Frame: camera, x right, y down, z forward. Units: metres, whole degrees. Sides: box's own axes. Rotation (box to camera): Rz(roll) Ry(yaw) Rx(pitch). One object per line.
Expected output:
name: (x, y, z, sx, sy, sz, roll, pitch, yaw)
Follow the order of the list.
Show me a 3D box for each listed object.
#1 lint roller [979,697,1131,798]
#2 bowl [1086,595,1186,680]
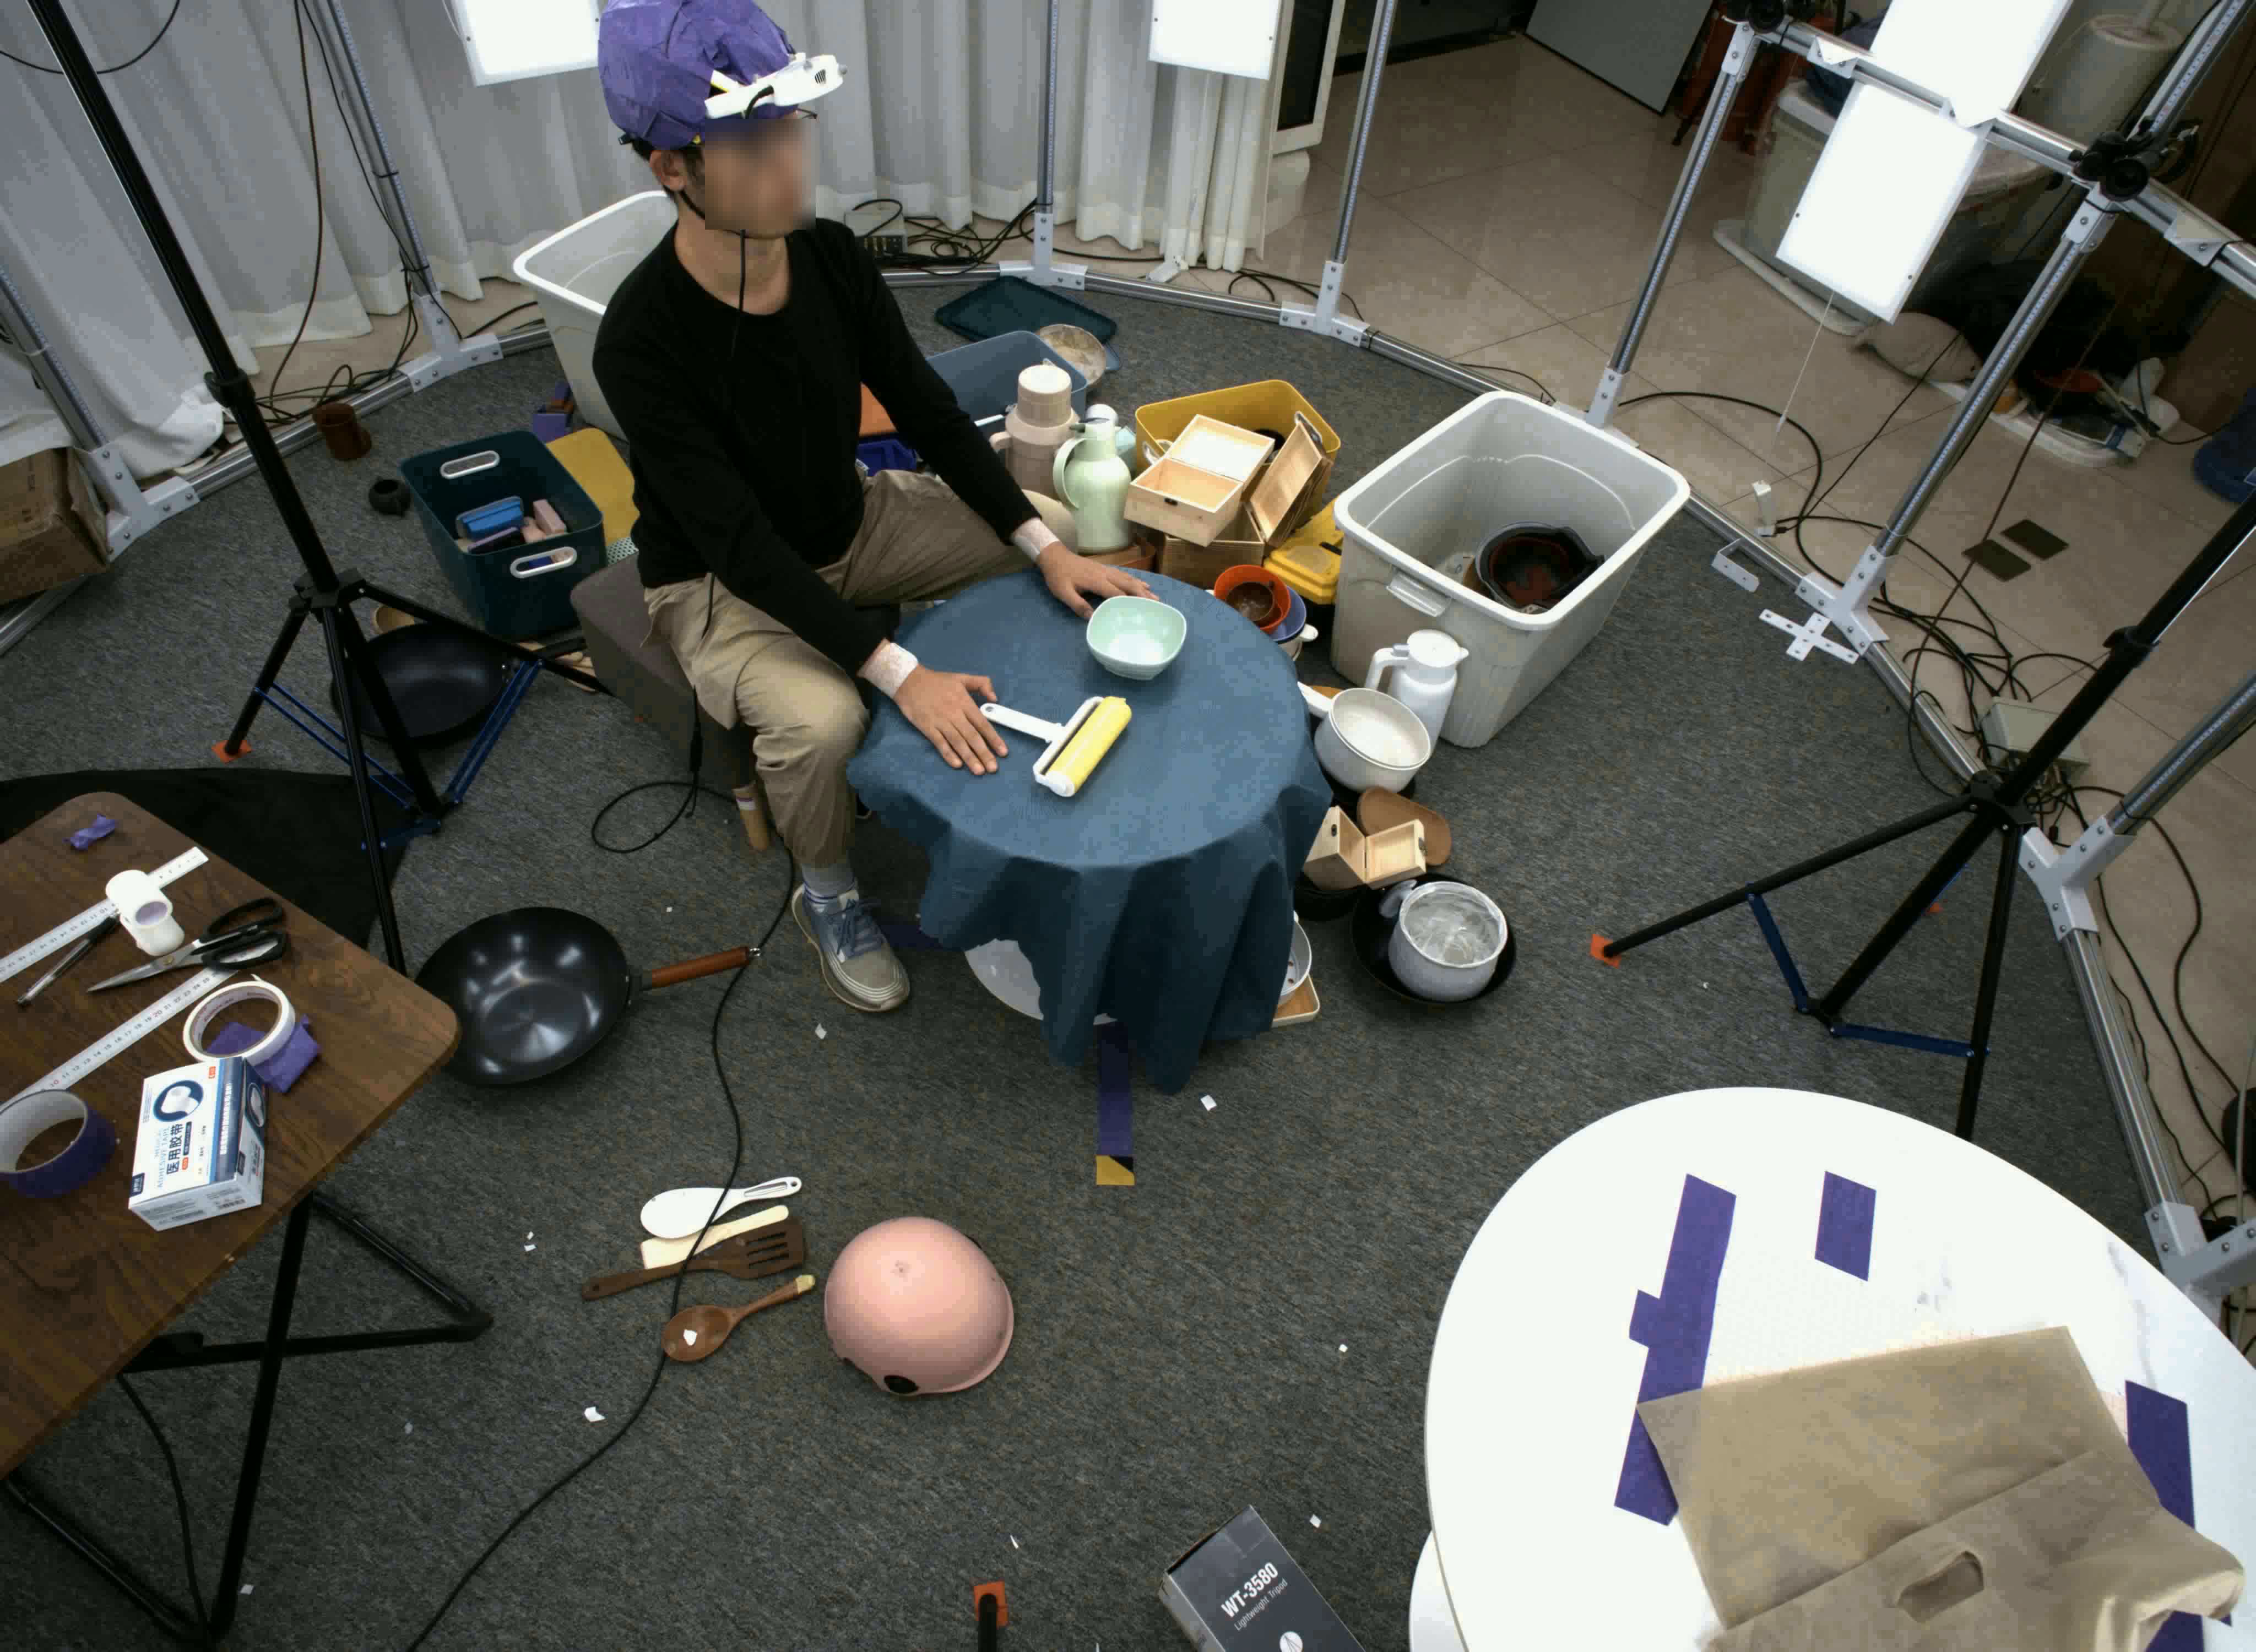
lint roller: (-0.117, -0.136, 1.746, 0.193, 0.050, 0.177, 25, 52, 11)
bowl: (0.010, -0.265, 1.863, 0.151, 0.057, 0.155, 3, 50, -3)
